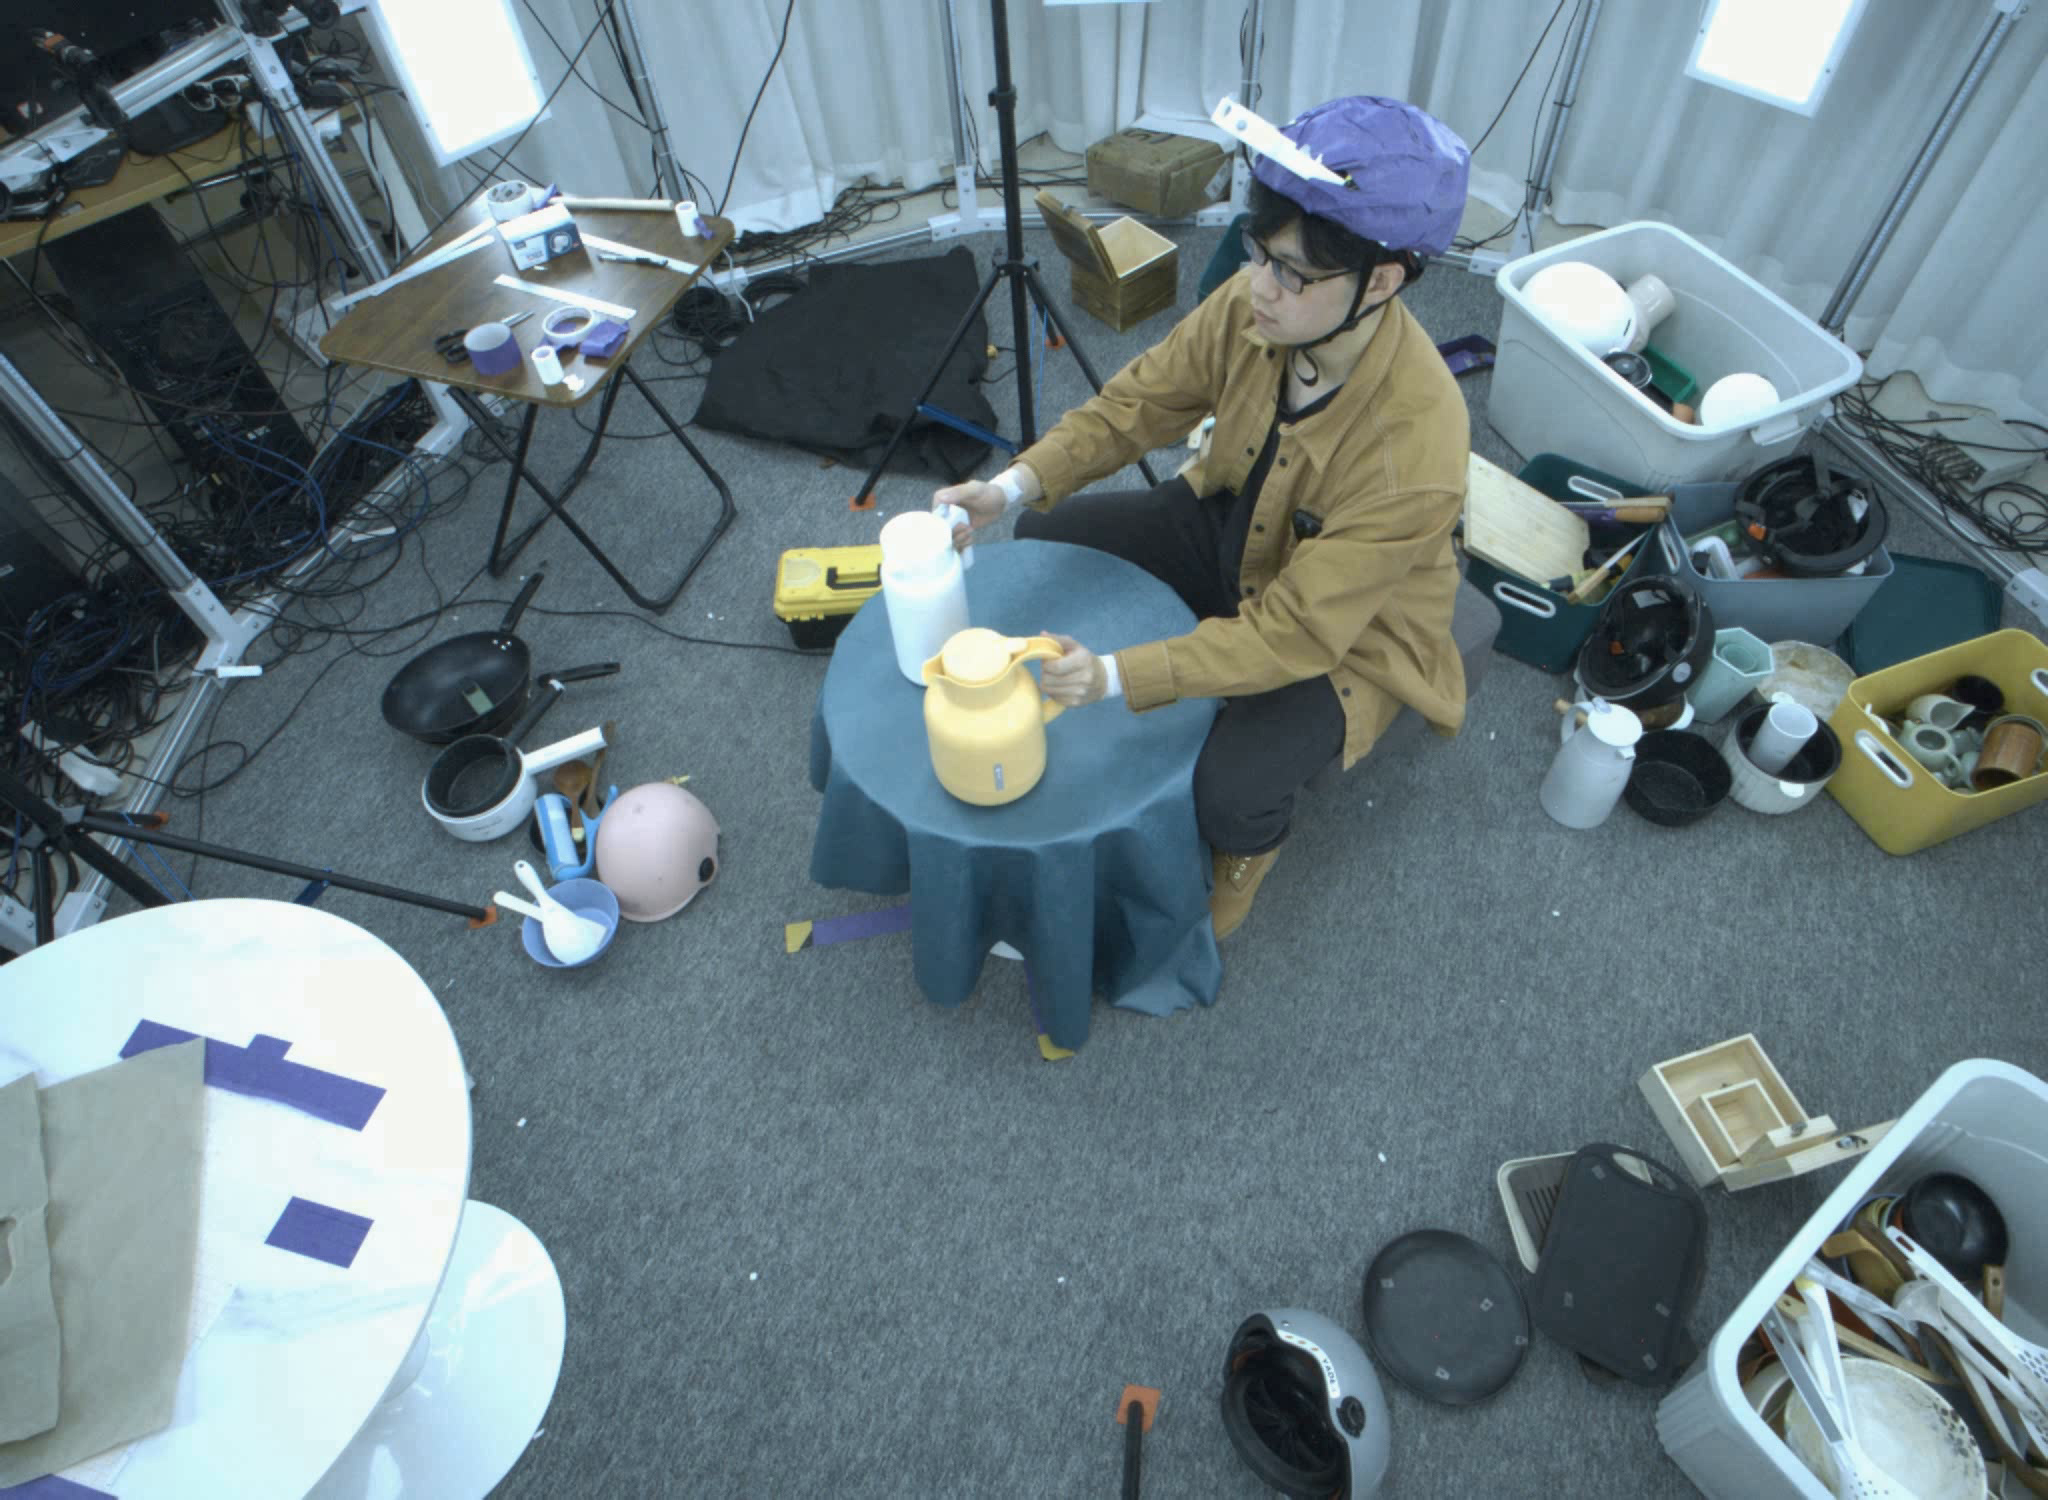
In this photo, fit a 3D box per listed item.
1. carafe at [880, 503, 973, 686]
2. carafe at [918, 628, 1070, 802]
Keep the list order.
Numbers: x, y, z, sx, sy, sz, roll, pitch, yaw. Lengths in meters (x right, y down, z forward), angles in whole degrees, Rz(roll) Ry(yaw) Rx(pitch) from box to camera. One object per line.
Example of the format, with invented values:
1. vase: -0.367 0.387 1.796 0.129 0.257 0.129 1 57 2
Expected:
1. carafe: -0.135 -0.230 1.786 0.122 0.272 0.173 24 59 21
2. carafe: -0.036 -0.056 1.661 0.203 0.263 0.161 -13 57 -4
